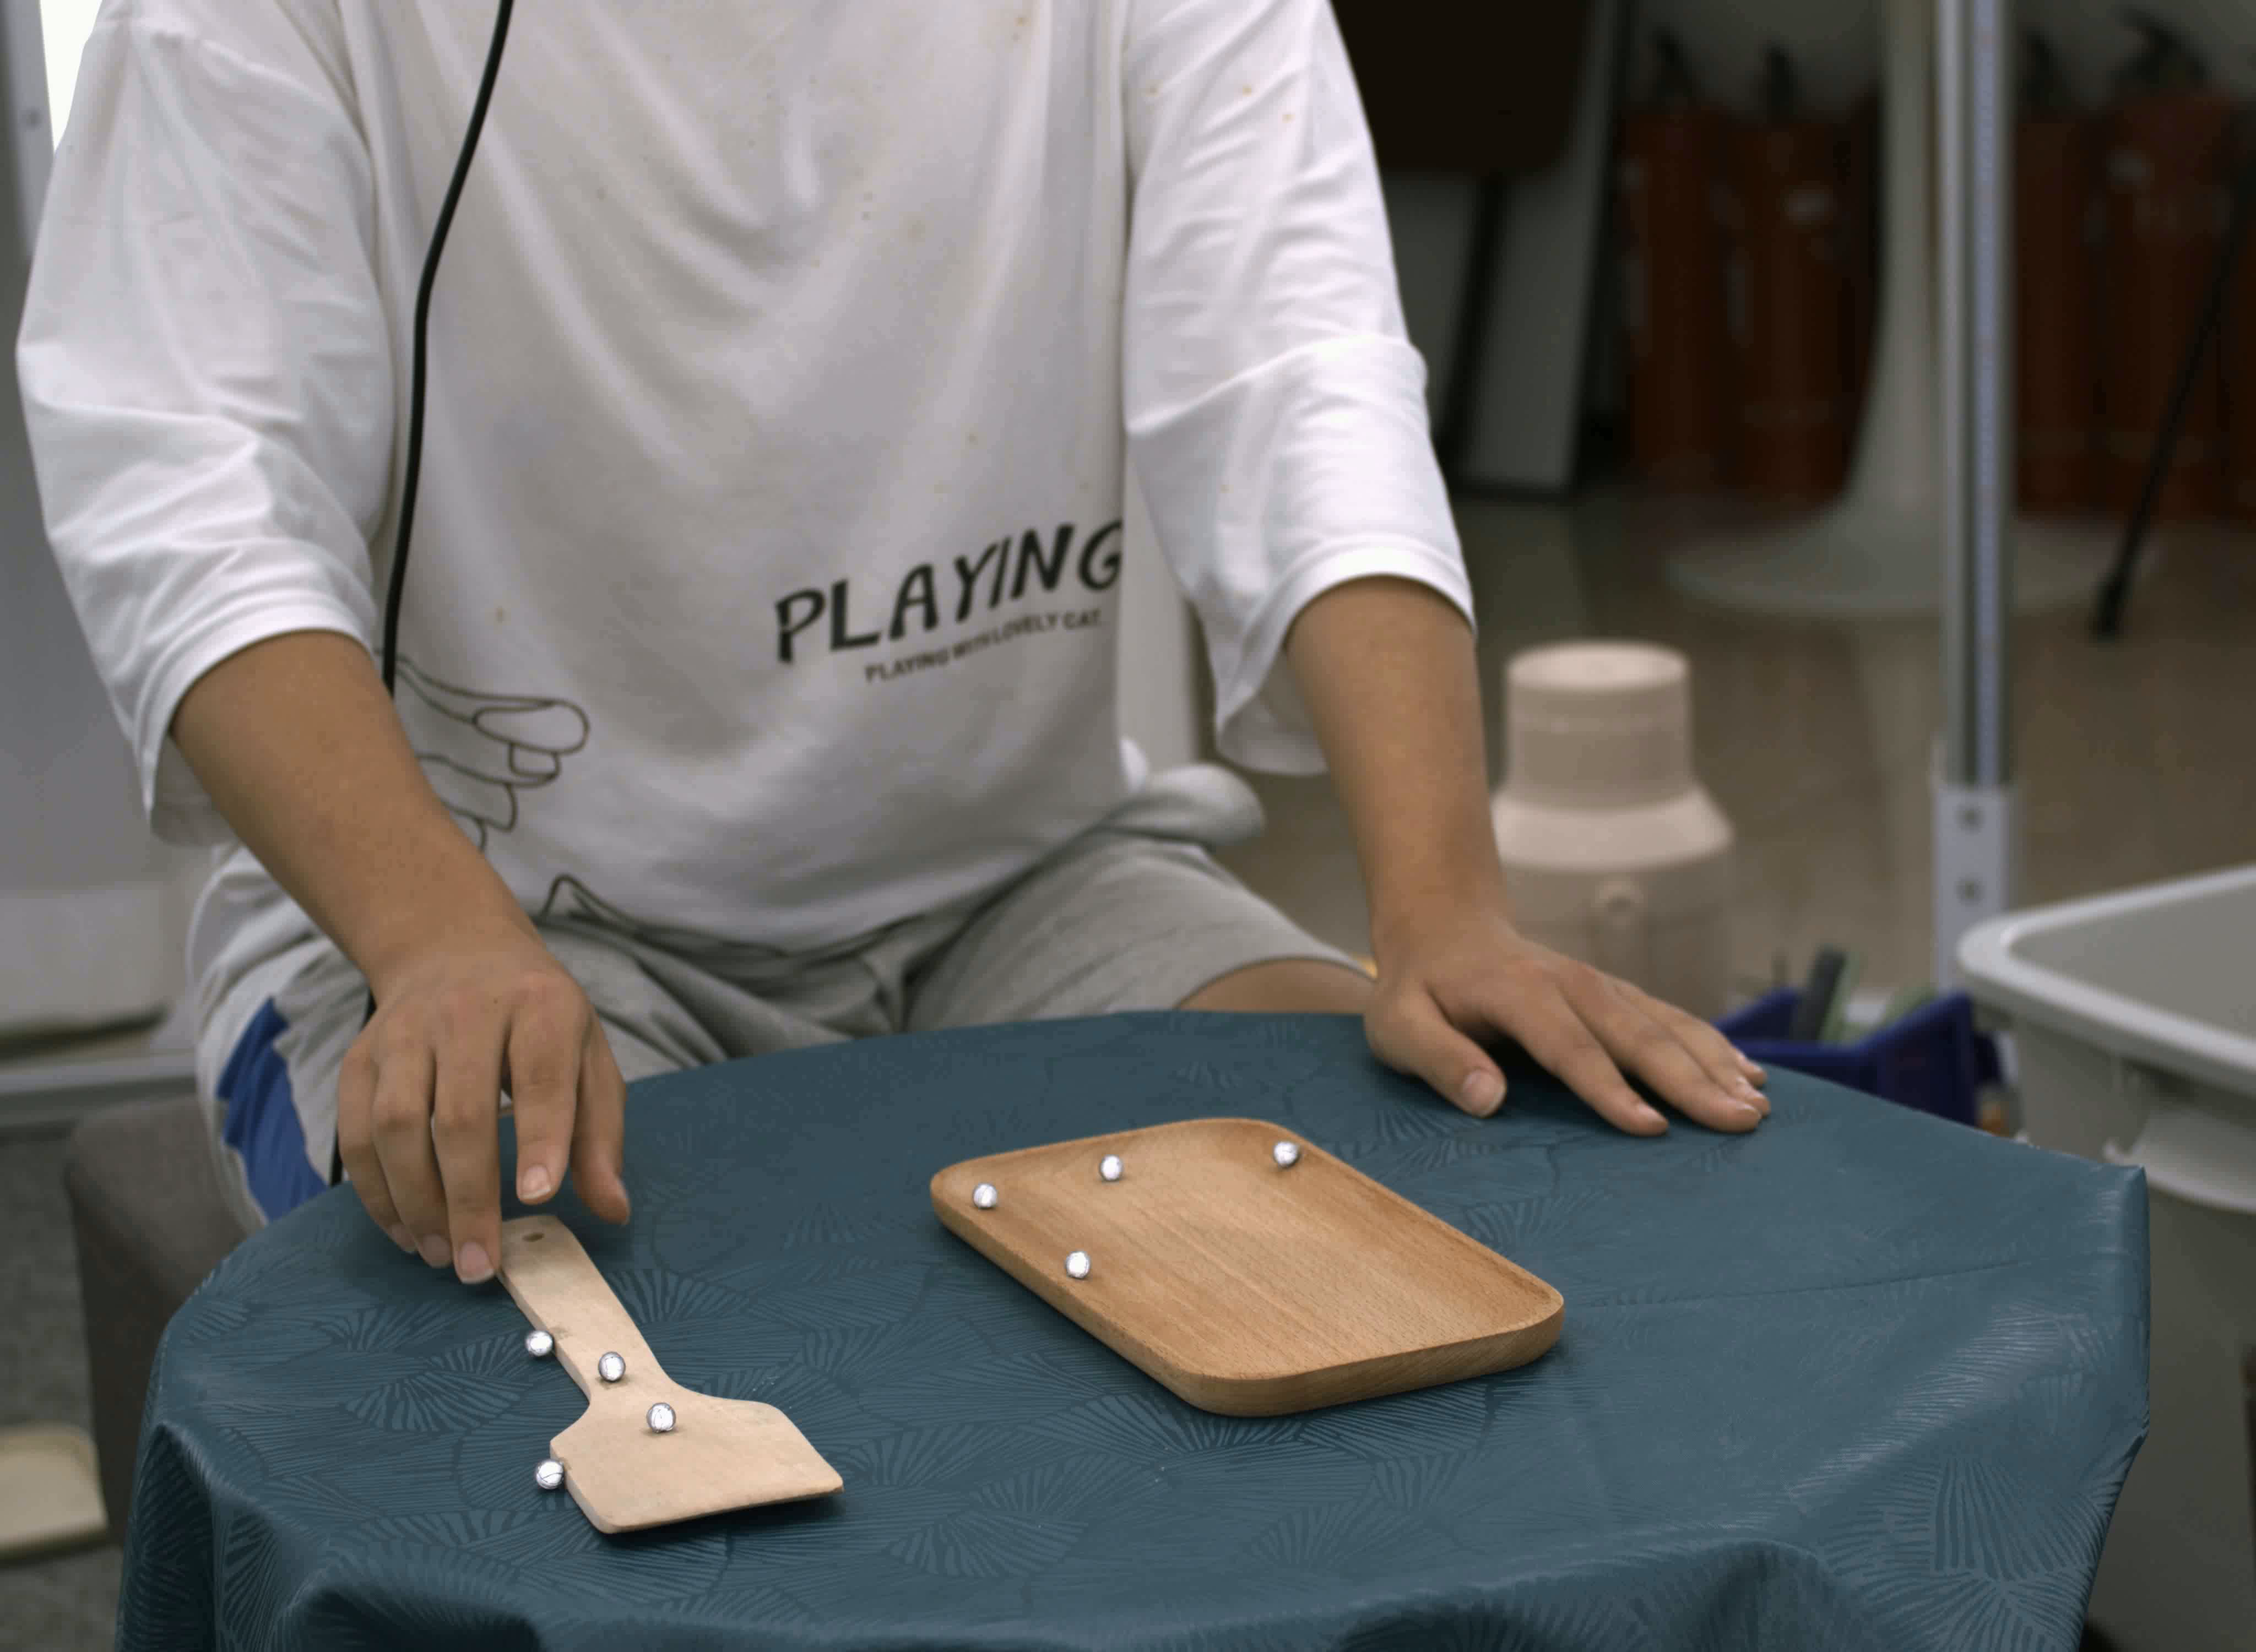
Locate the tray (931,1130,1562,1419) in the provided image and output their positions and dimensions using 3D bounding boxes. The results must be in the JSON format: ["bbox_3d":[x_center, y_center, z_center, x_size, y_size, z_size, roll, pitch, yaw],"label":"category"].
[{"bbox_3d":[0.033,0.136,1.671,0.128,0.023,0.253,-11,15,-19],"label":"tray"}]

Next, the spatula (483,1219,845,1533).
[{"bbox_3d":[-0.155,0.162,1.629,0.071,0.011,0.295,-9,14,-16],"label":"spatula"}]
